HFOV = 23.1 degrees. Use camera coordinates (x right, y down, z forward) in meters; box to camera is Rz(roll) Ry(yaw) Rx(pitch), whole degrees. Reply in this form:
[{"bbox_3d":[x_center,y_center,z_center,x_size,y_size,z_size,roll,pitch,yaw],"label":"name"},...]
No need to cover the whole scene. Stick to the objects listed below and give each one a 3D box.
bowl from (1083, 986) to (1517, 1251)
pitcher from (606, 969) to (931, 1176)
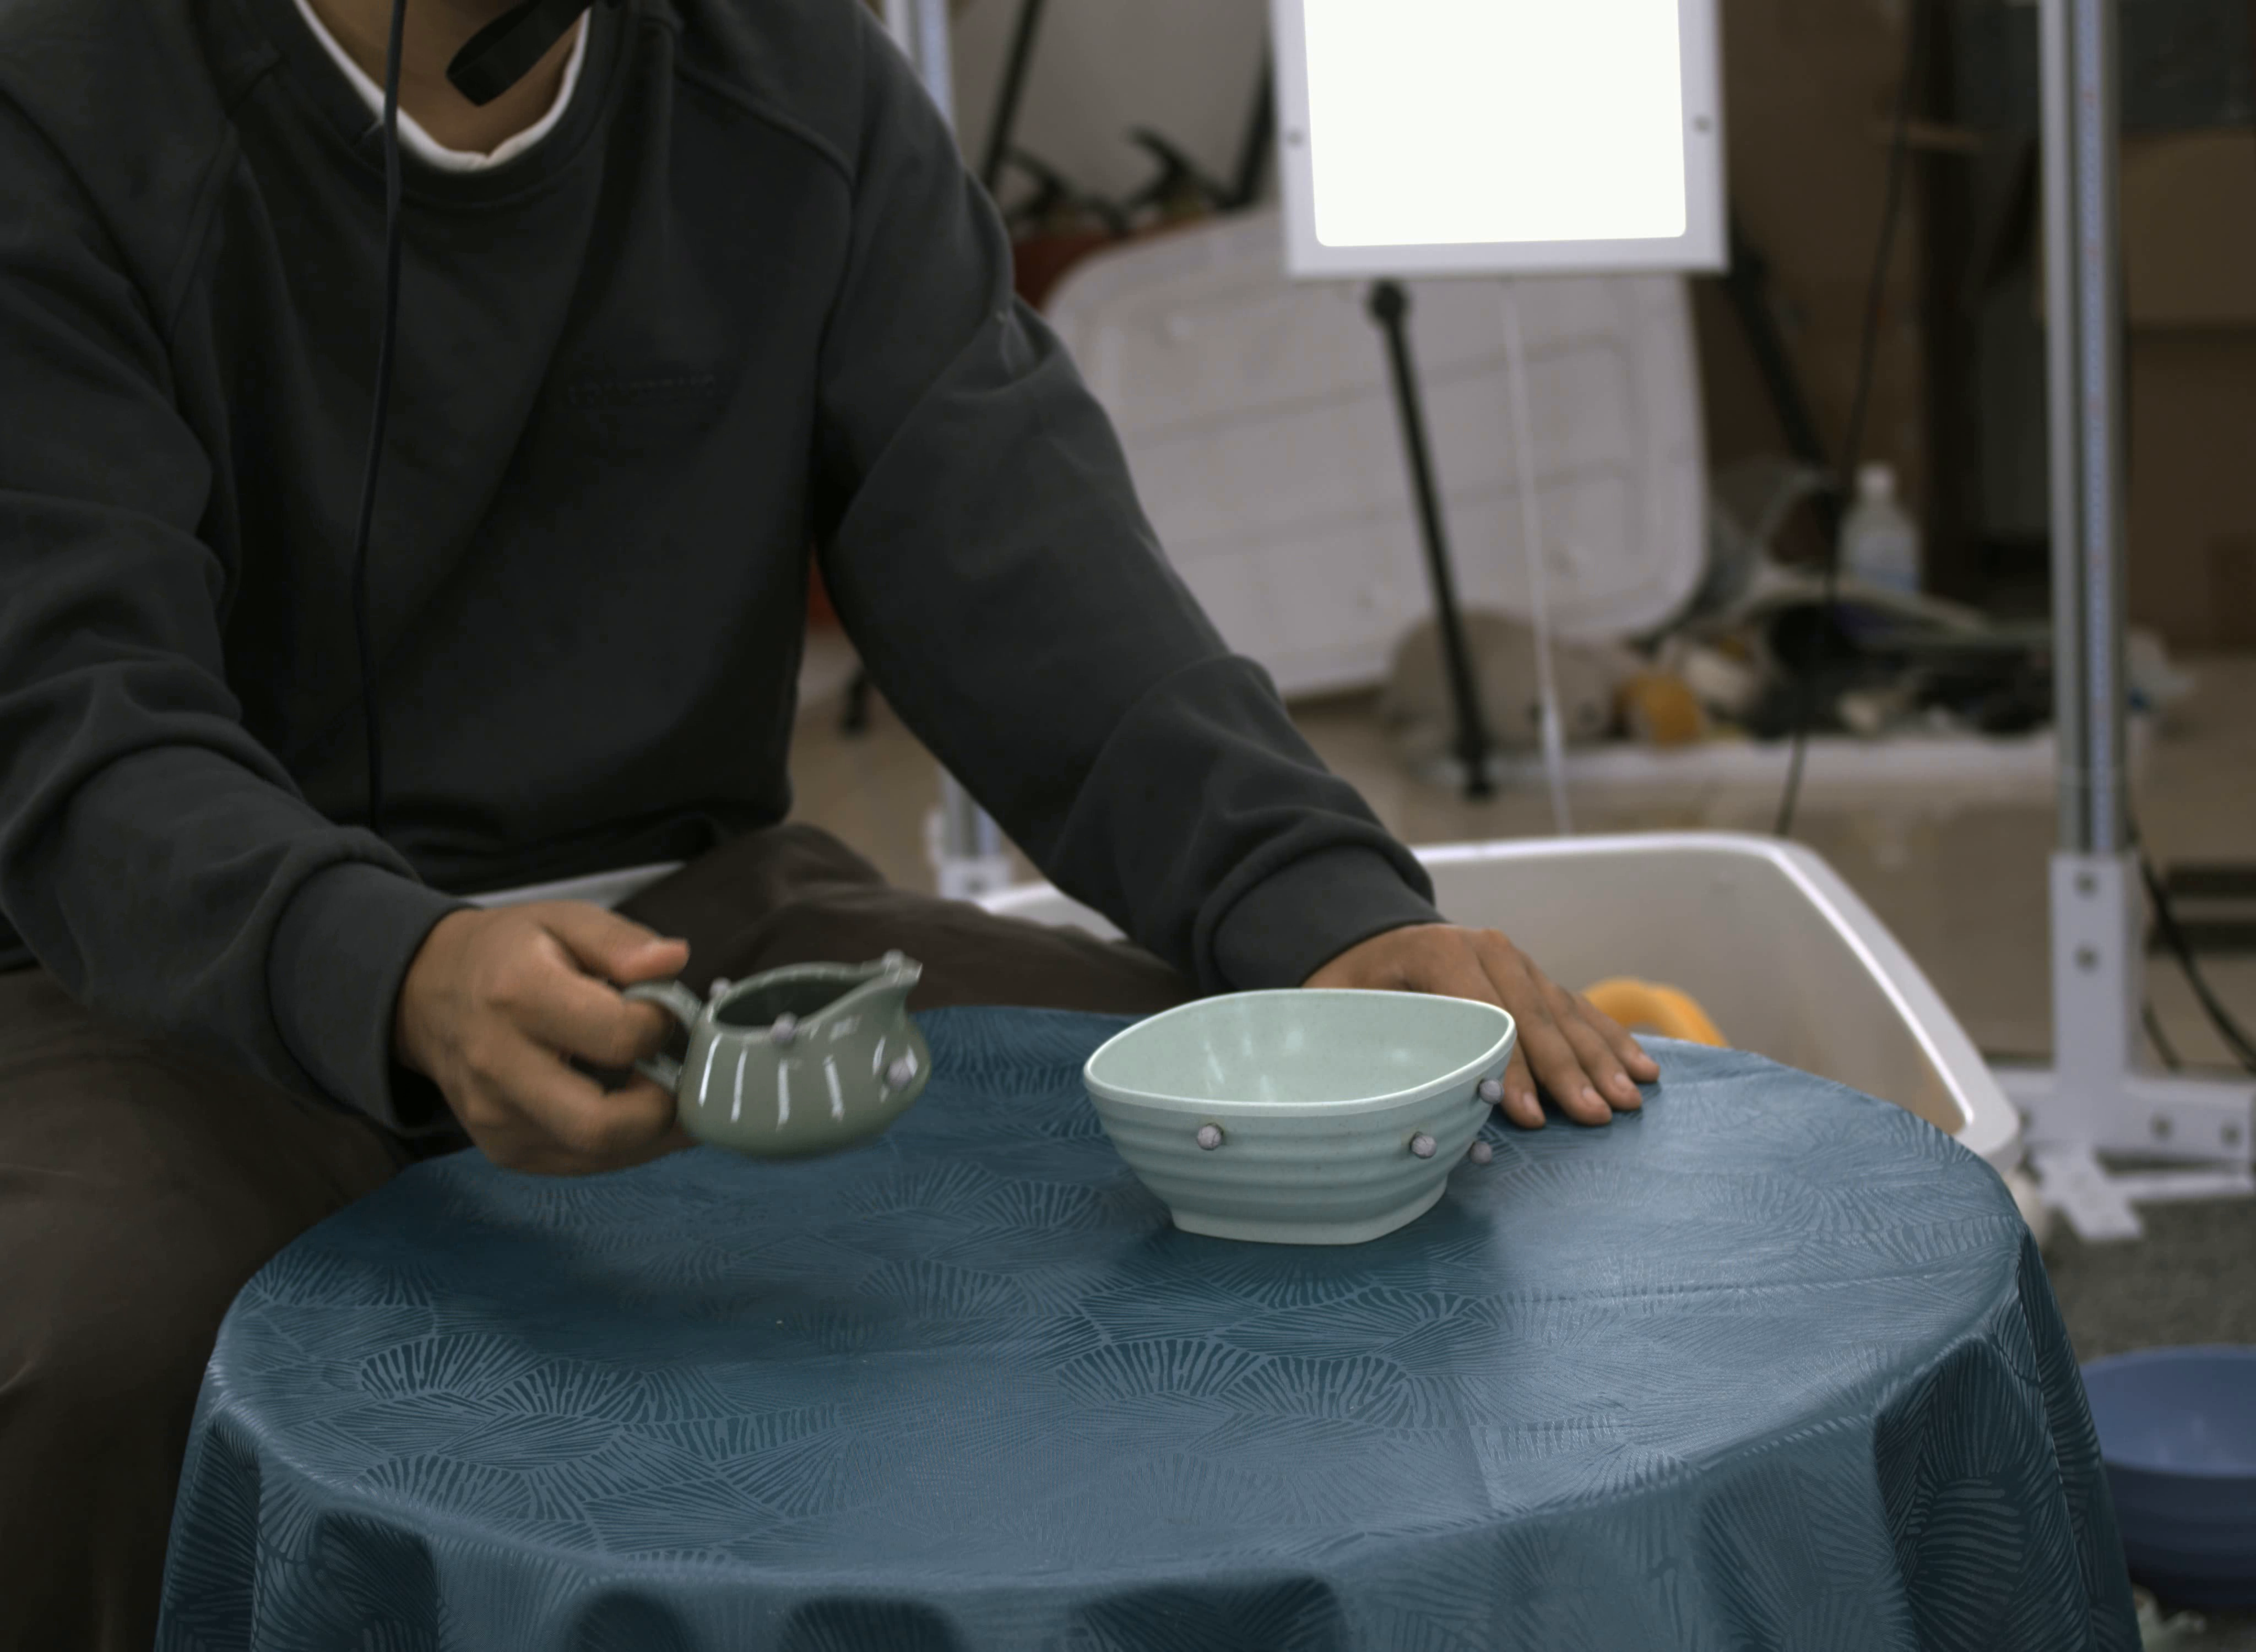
[{"bbox_3d":[0.060,0.102,1.862,0.151,0.059,0.151,-4,15,0],"label":"bowl"},{"bbox_3d":[-0.113,0.077,1.782,0.114,0.056,0.083,-5,20,22],"label":"pitcher"}]
